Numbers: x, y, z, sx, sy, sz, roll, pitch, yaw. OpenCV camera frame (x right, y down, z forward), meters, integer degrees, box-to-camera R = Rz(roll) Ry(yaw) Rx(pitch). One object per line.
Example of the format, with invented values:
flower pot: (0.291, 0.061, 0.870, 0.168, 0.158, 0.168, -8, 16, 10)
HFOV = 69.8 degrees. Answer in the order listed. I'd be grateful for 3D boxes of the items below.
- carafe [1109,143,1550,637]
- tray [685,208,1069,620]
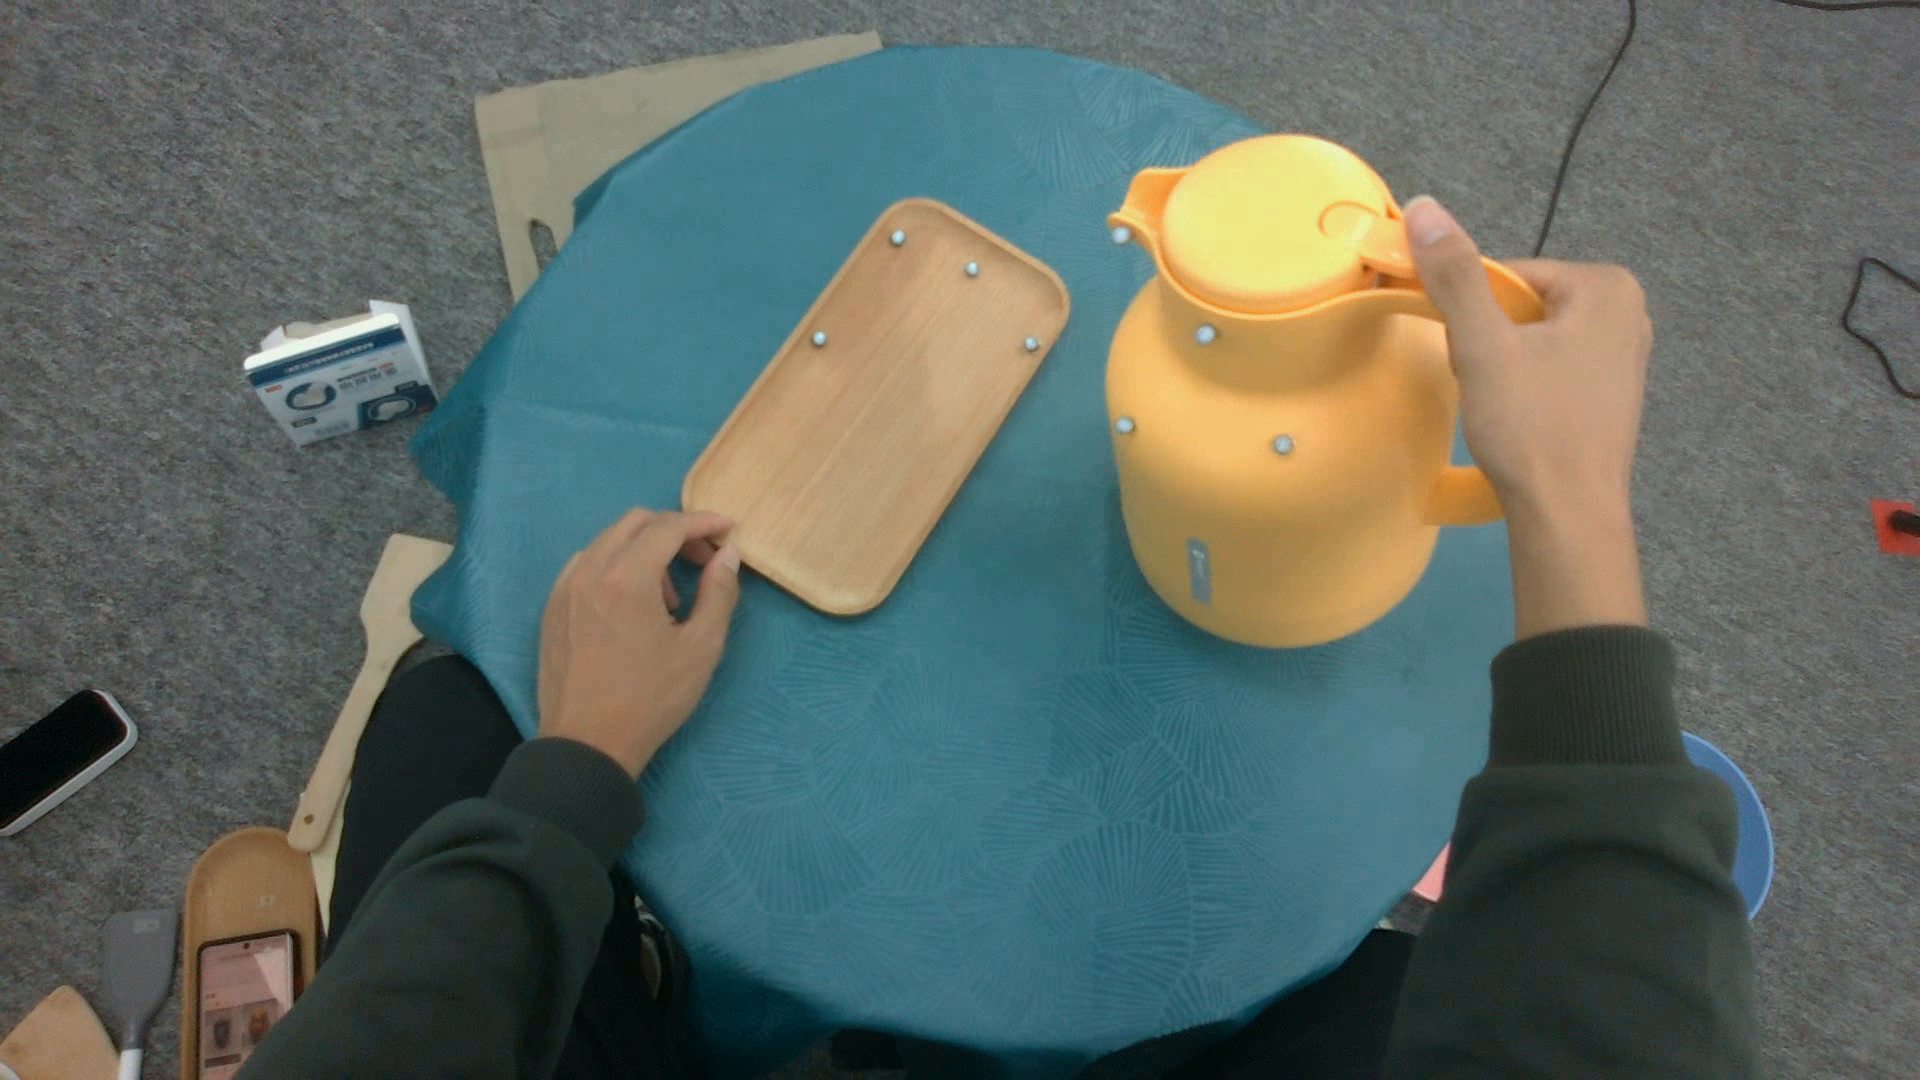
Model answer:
carafe: (0.170, -0.062, 0.660, 0.202, 0.259, 0.164, 25, 70, 27)
tray: (-0.043, -0.077, 0.788, 0.130, 0.023, 0.251, 31, 70, 7)
